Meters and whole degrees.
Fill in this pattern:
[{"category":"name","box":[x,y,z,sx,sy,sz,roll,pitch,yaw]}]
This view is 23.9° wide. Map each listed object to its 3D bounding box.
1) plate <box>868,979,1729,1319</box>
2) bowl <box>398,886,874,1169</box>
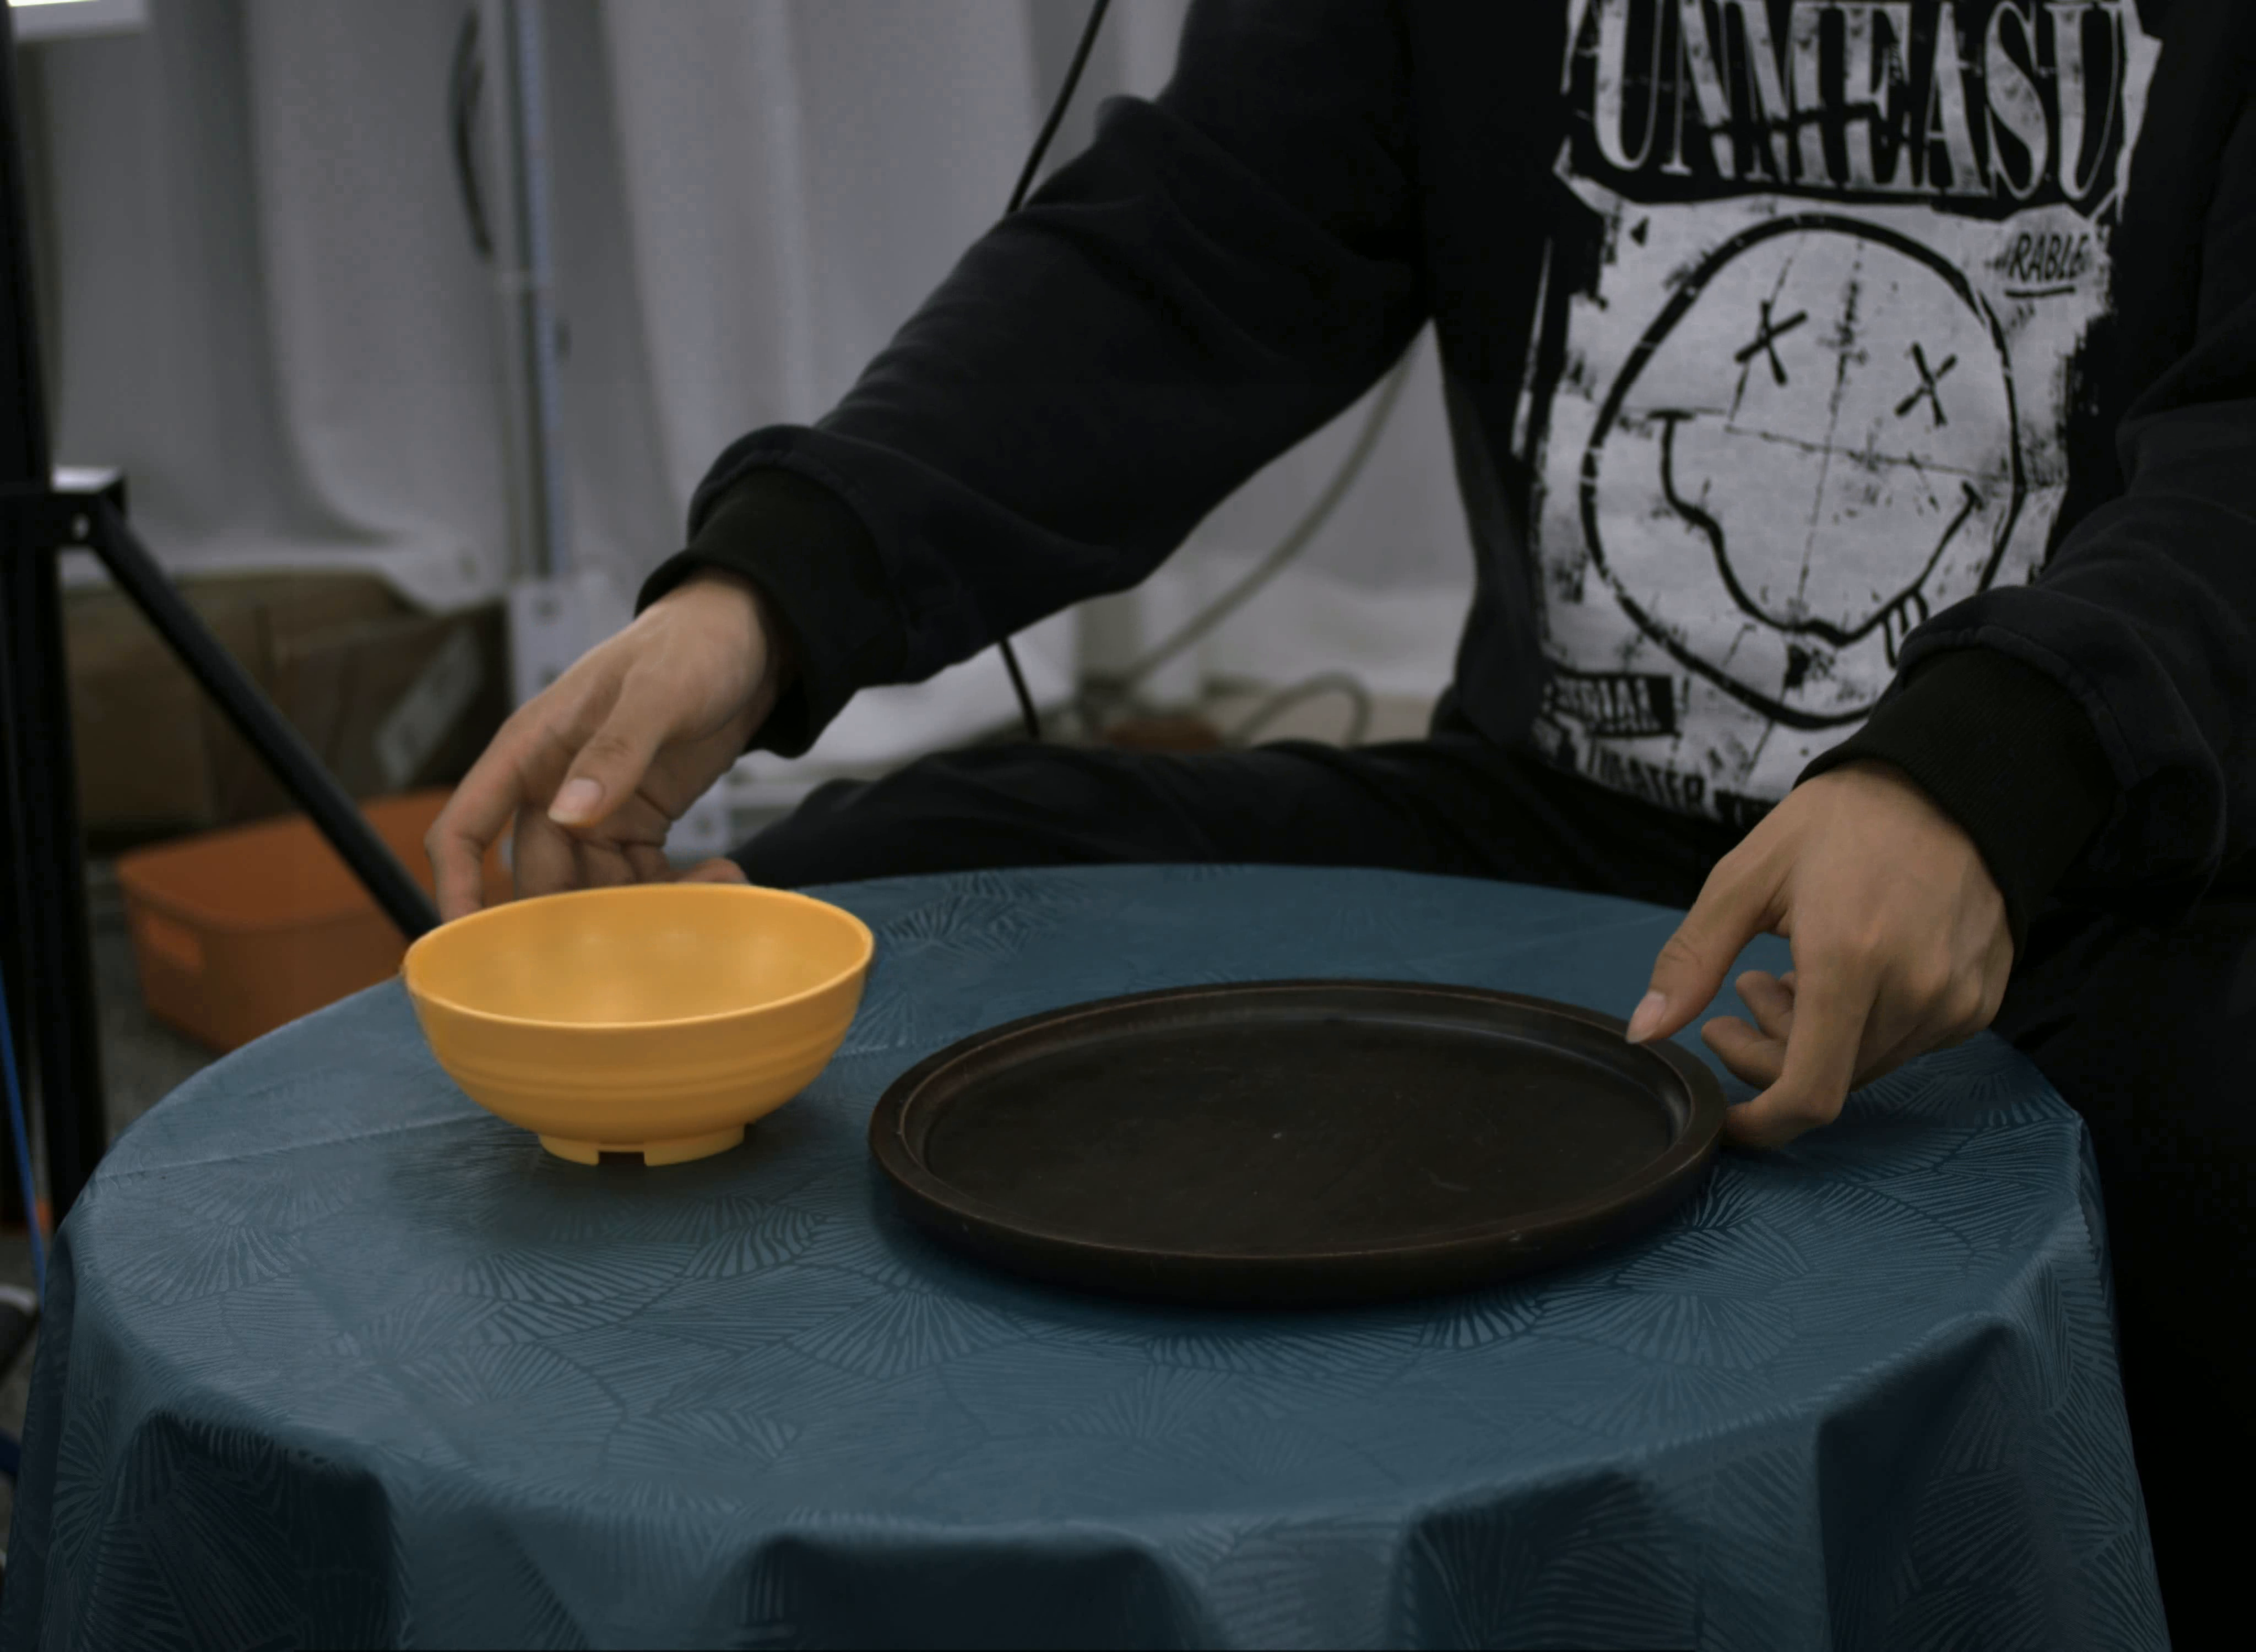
[{"category":"plate","box":[0.050,0.093,1.563,0.253,0.029,0.256,-4,15,0]},{"category":"bowl","box":[-0.149,0.067,1.626,0.144,0.060,0.146,0,15,-1]}]
